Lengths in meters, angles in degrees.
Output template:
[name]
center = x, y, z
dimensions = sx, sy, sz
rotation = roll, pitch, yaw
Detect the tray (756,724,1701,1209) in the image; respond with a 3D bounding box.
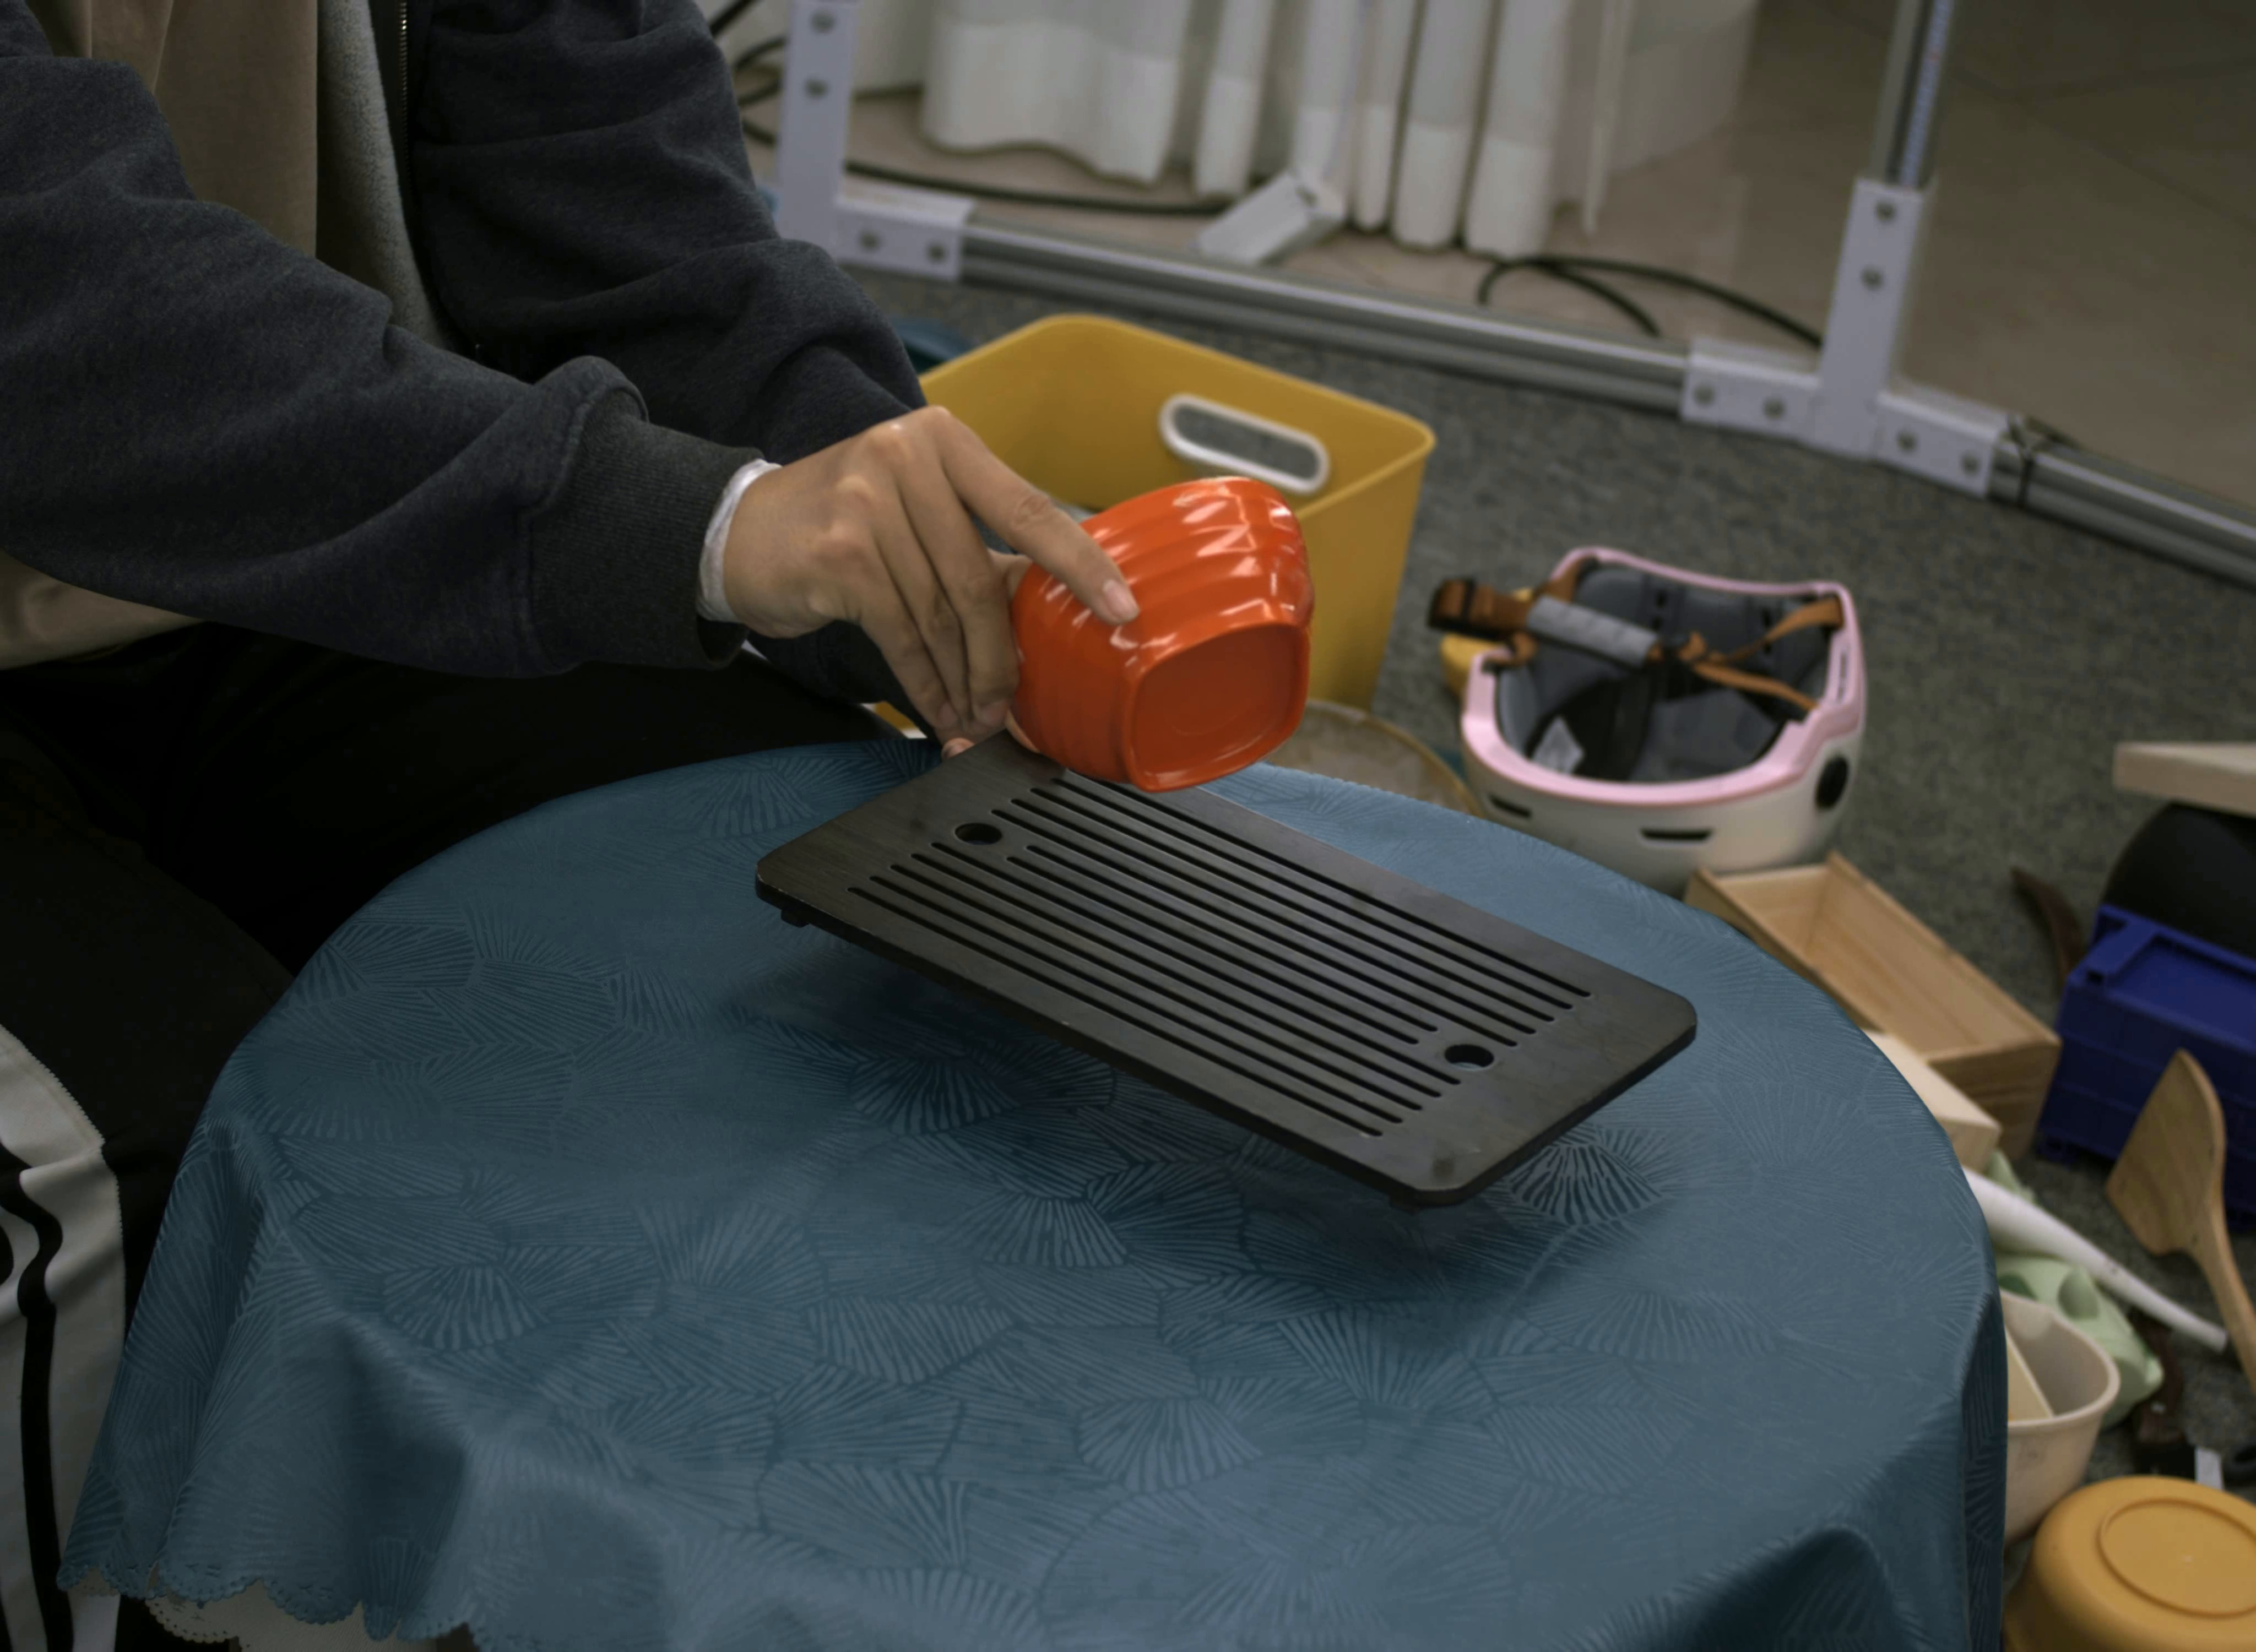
[tray]
center = 0.033, 0.046, 1.870
dimensions = 0.308, 0.018, 0.169
rotation = 23, 34, 31

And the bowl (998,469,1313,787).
[bowl]
center = 0.017, -0.056, 1.734
dimensions = 0.118, 0.118, 0.052
rotation = -8, 45, -27
